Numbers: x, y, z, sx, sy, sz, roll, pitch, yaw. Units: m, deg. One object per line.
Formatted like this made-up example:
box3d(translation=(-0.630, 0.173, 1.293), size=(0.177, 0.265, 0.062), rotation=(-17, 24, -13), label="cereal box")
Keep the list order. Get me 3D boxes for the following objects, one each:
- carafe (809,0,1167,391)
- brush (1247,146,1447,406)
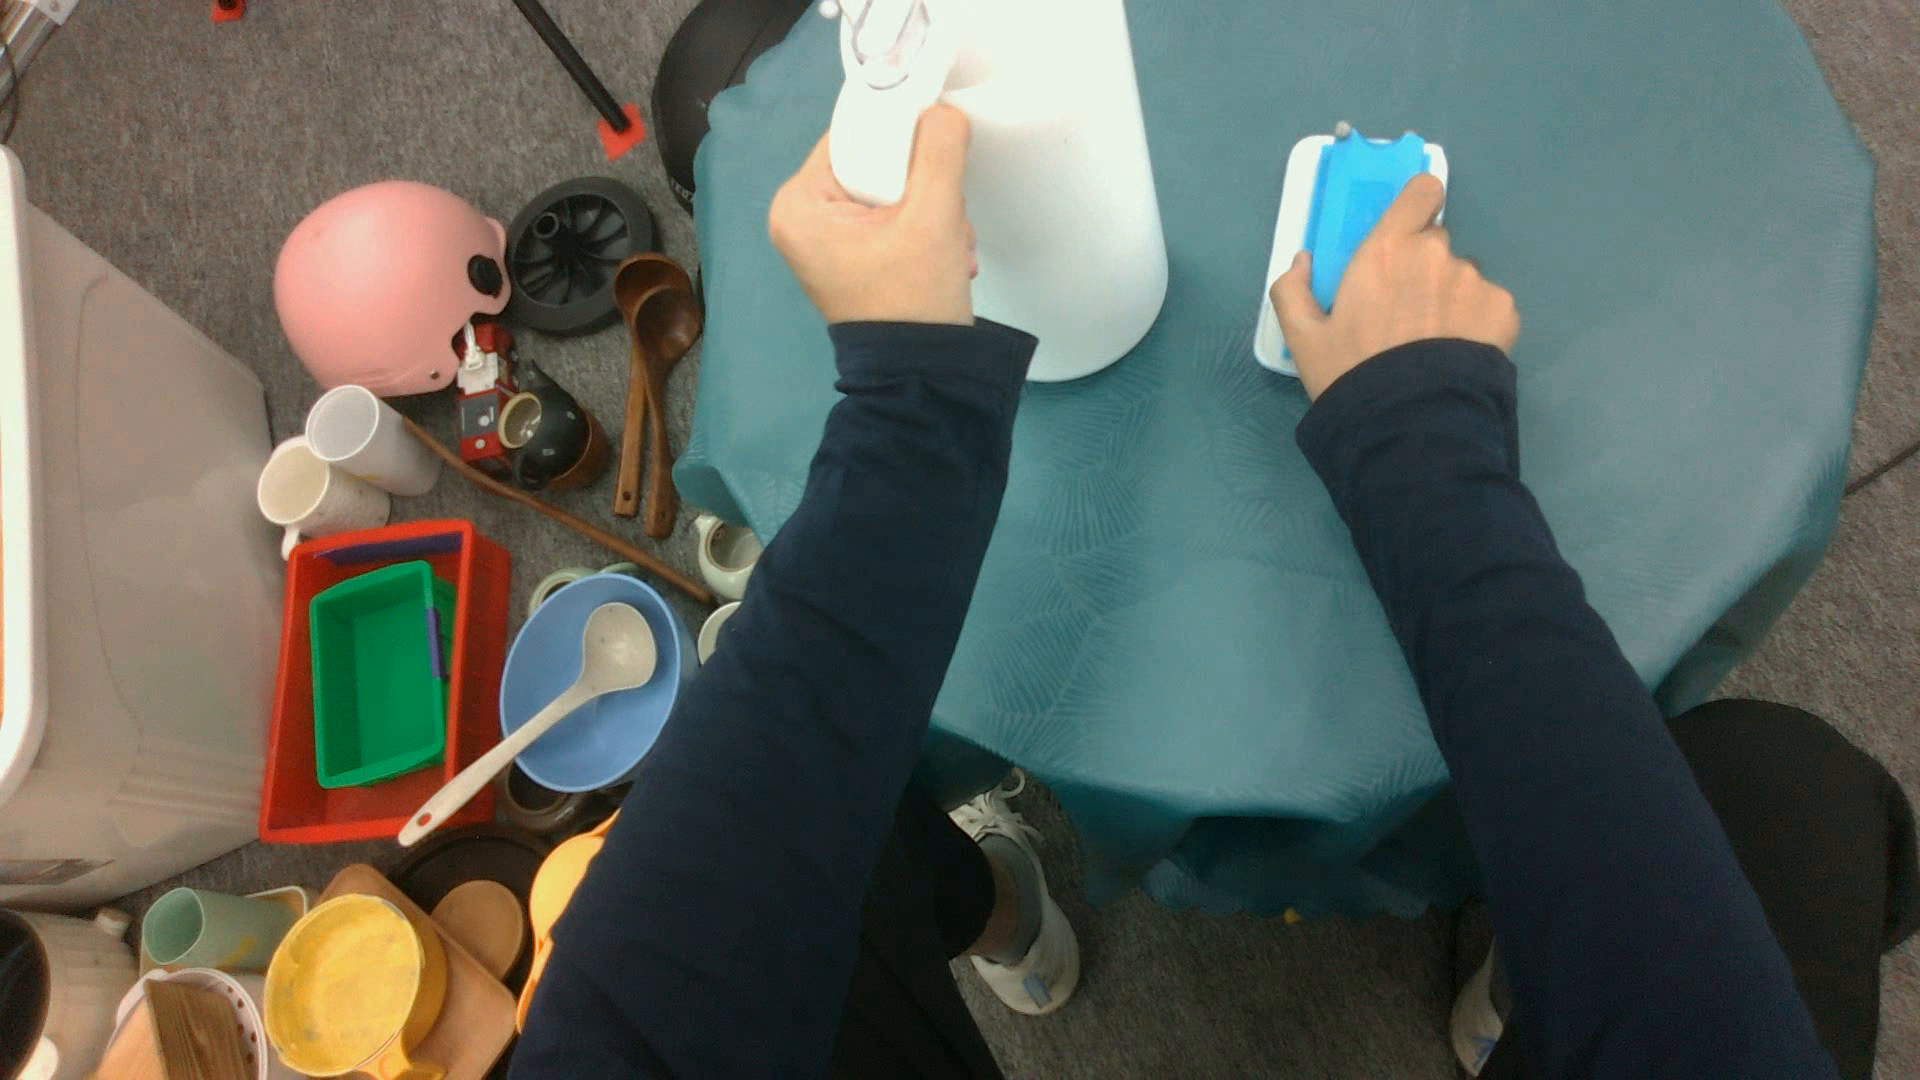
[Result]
box3d(translation=(0.019, -0.164, 0.634), size=(0.124, 0.268, 0.173), rotation=(11, 71, 18), label="carafe")
box3d(translation=(0.196, -0.140, 0.693), size=(0.084, 0.056, 0.144), rotation=(11, 70, 16), label="brush")
